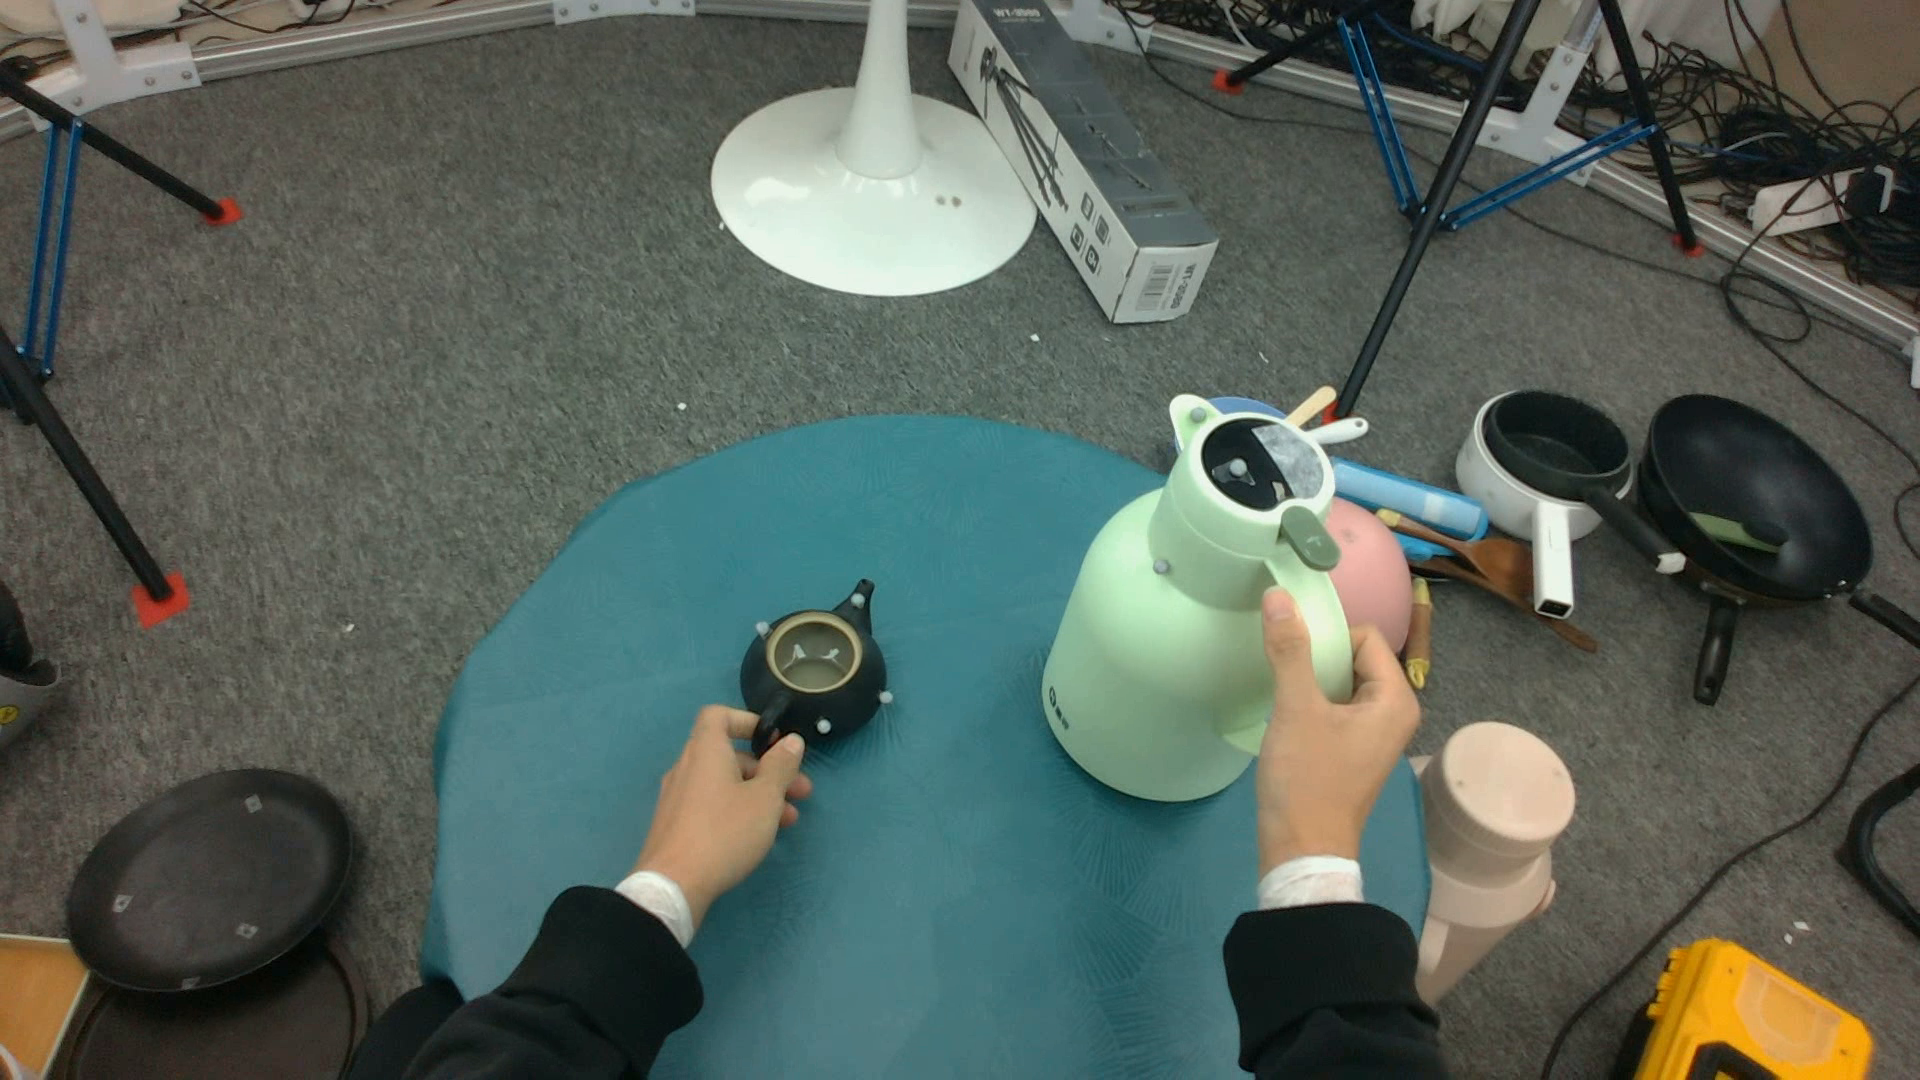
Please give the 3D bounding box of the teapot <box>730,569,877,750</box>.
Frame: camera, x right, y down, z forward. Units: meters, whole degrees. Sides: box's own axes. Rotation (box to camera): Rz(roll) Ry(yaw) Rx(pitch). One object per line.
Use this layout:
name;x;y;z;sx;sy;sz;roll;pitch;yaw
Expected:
teapot;-0.096;0.077;0.848;0.091;0.053;0.134;24;52;12

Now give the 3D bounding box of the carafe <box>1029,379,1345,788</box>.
carafe;0.138;0.039;0.788;0.144;0.255;0.187;-15;60;-21
